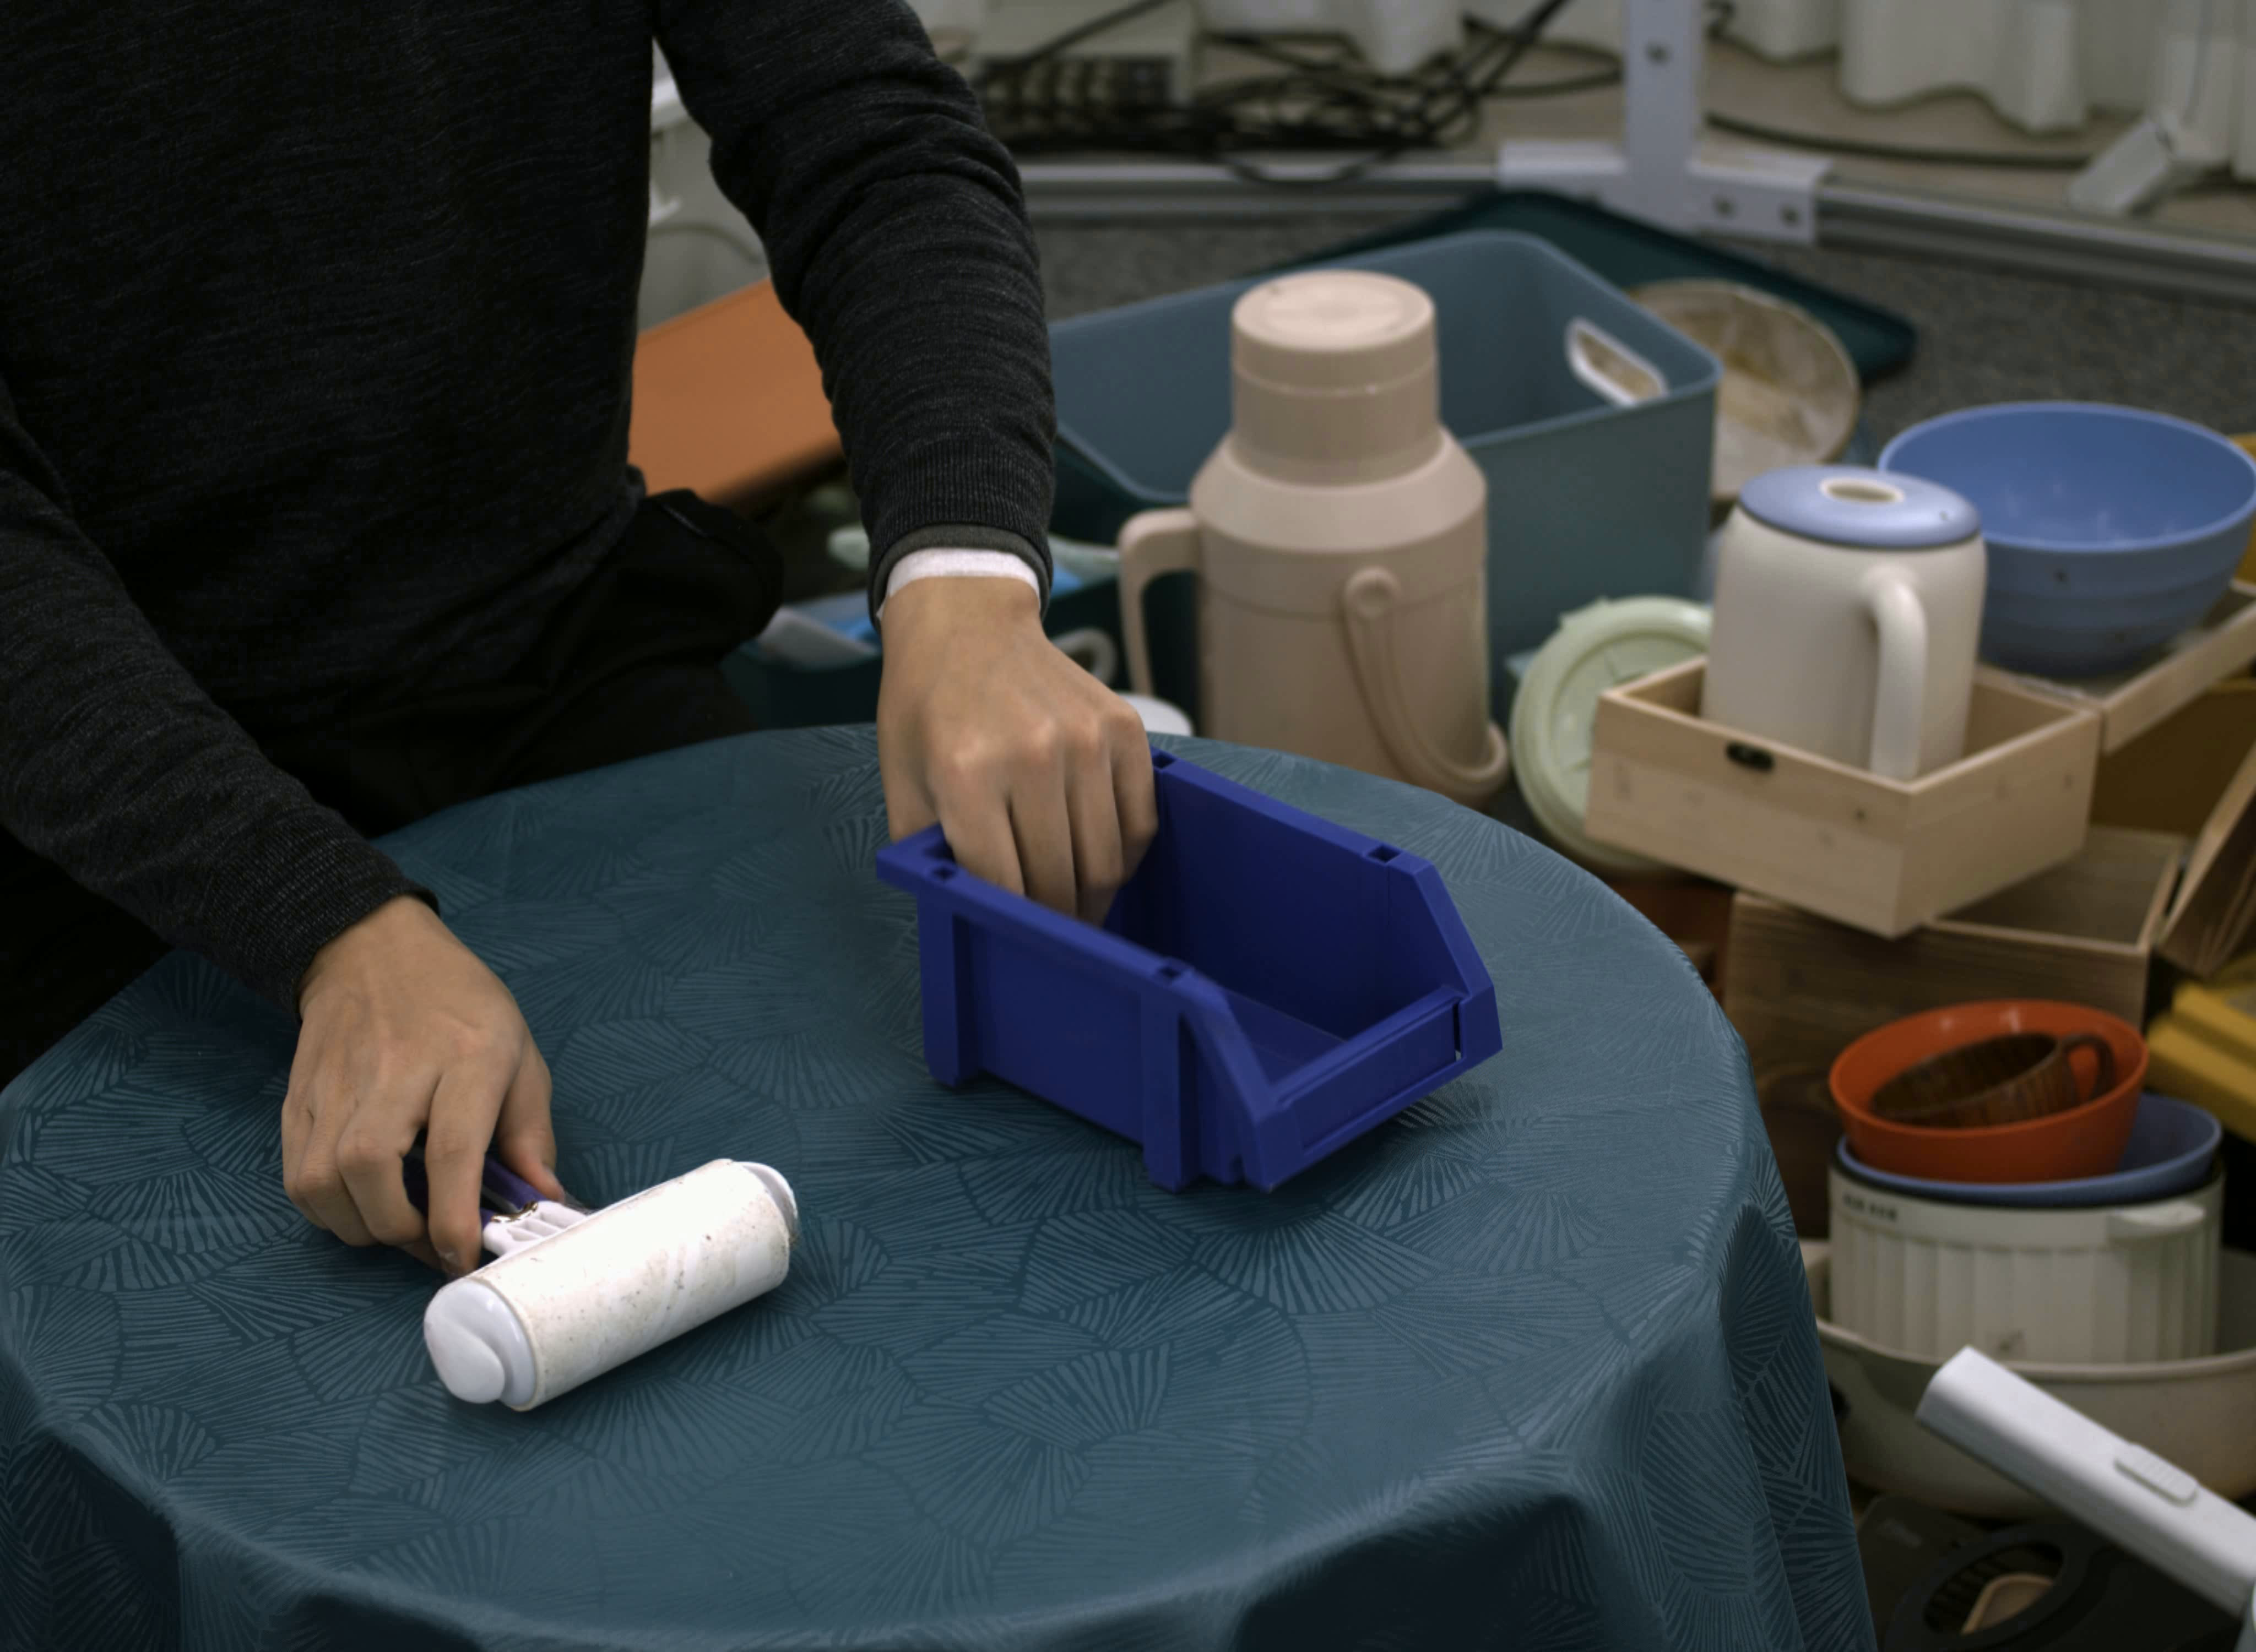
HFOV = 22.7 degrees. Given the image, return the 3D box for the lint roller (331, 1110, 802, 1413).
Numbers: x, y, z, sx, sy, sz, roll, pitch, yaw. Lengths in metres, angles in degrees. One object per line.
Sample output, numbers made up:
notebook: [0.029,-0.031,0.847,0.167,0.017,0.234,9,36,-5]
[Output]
lint roller: [-0.202,0.120,1.825,0.134,0.049,0.181,-24,39,-33]

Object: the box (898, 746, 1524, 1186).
box: [0.029,0.050,1.902,0.179,0.081,0.126,20,32,40]
